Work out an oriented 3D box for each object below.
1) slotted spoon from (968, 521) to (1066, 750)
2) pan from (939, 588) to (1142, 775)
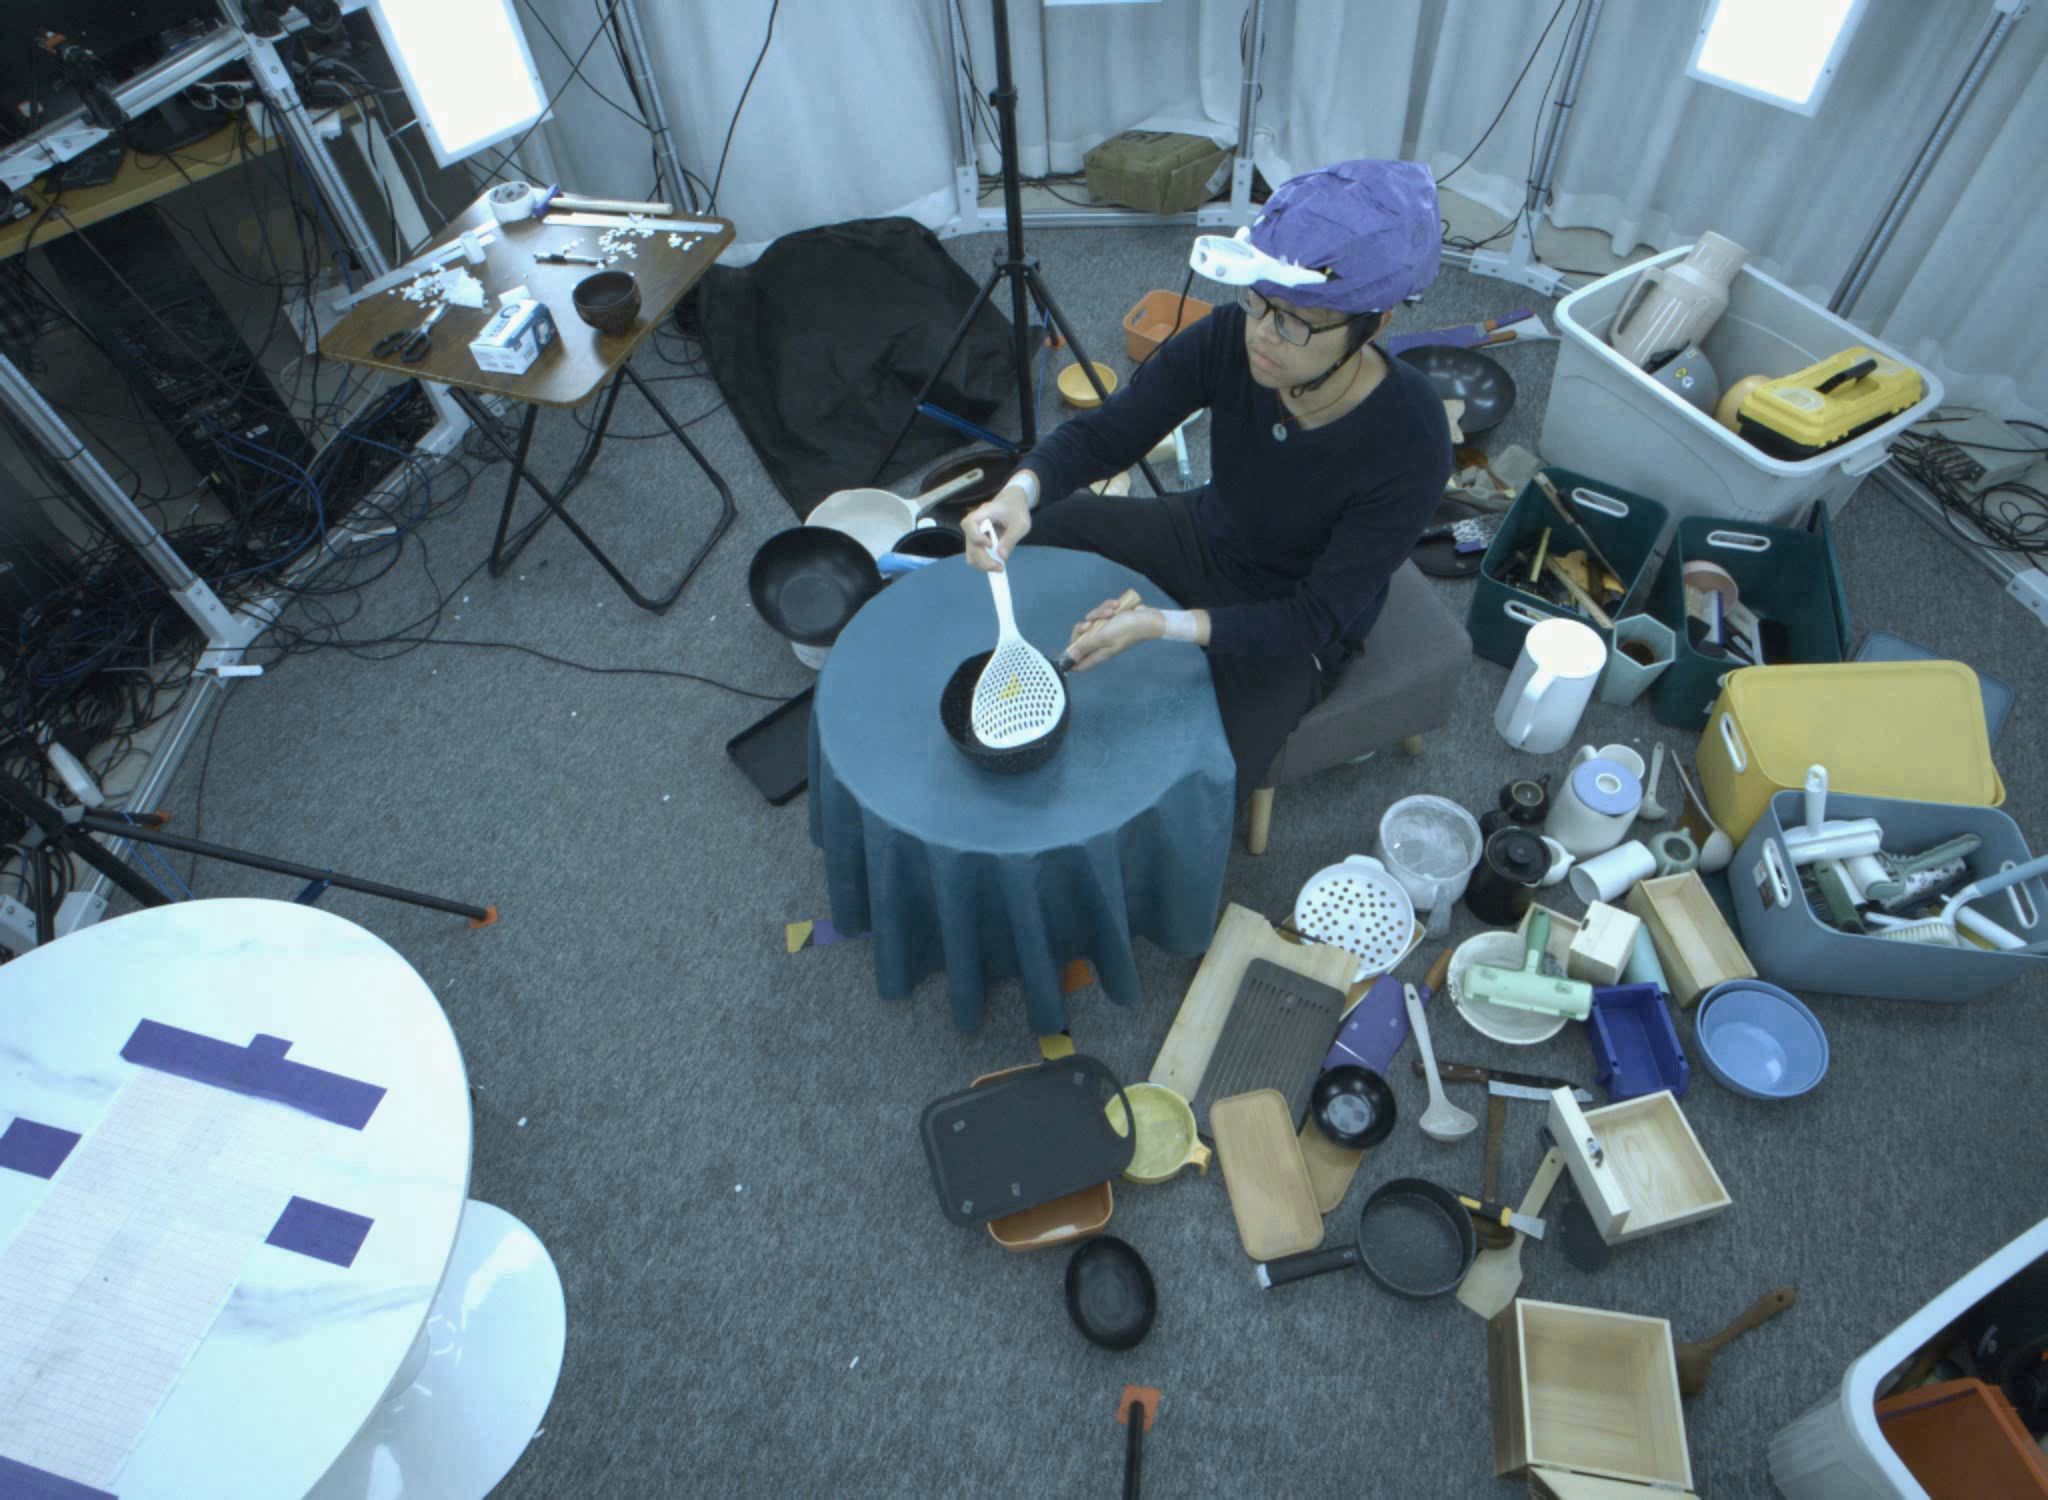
[{"bbox_3d":[-0.027,-0.145,1.614,0.138,0.352,0.049,-19,45,-10],"label":"slotted spoon"},{"bbox_3d":[0.037,-0.104,1.767,0.344,0.110,0.203,-39,59,-11],"label":"pan"}]
